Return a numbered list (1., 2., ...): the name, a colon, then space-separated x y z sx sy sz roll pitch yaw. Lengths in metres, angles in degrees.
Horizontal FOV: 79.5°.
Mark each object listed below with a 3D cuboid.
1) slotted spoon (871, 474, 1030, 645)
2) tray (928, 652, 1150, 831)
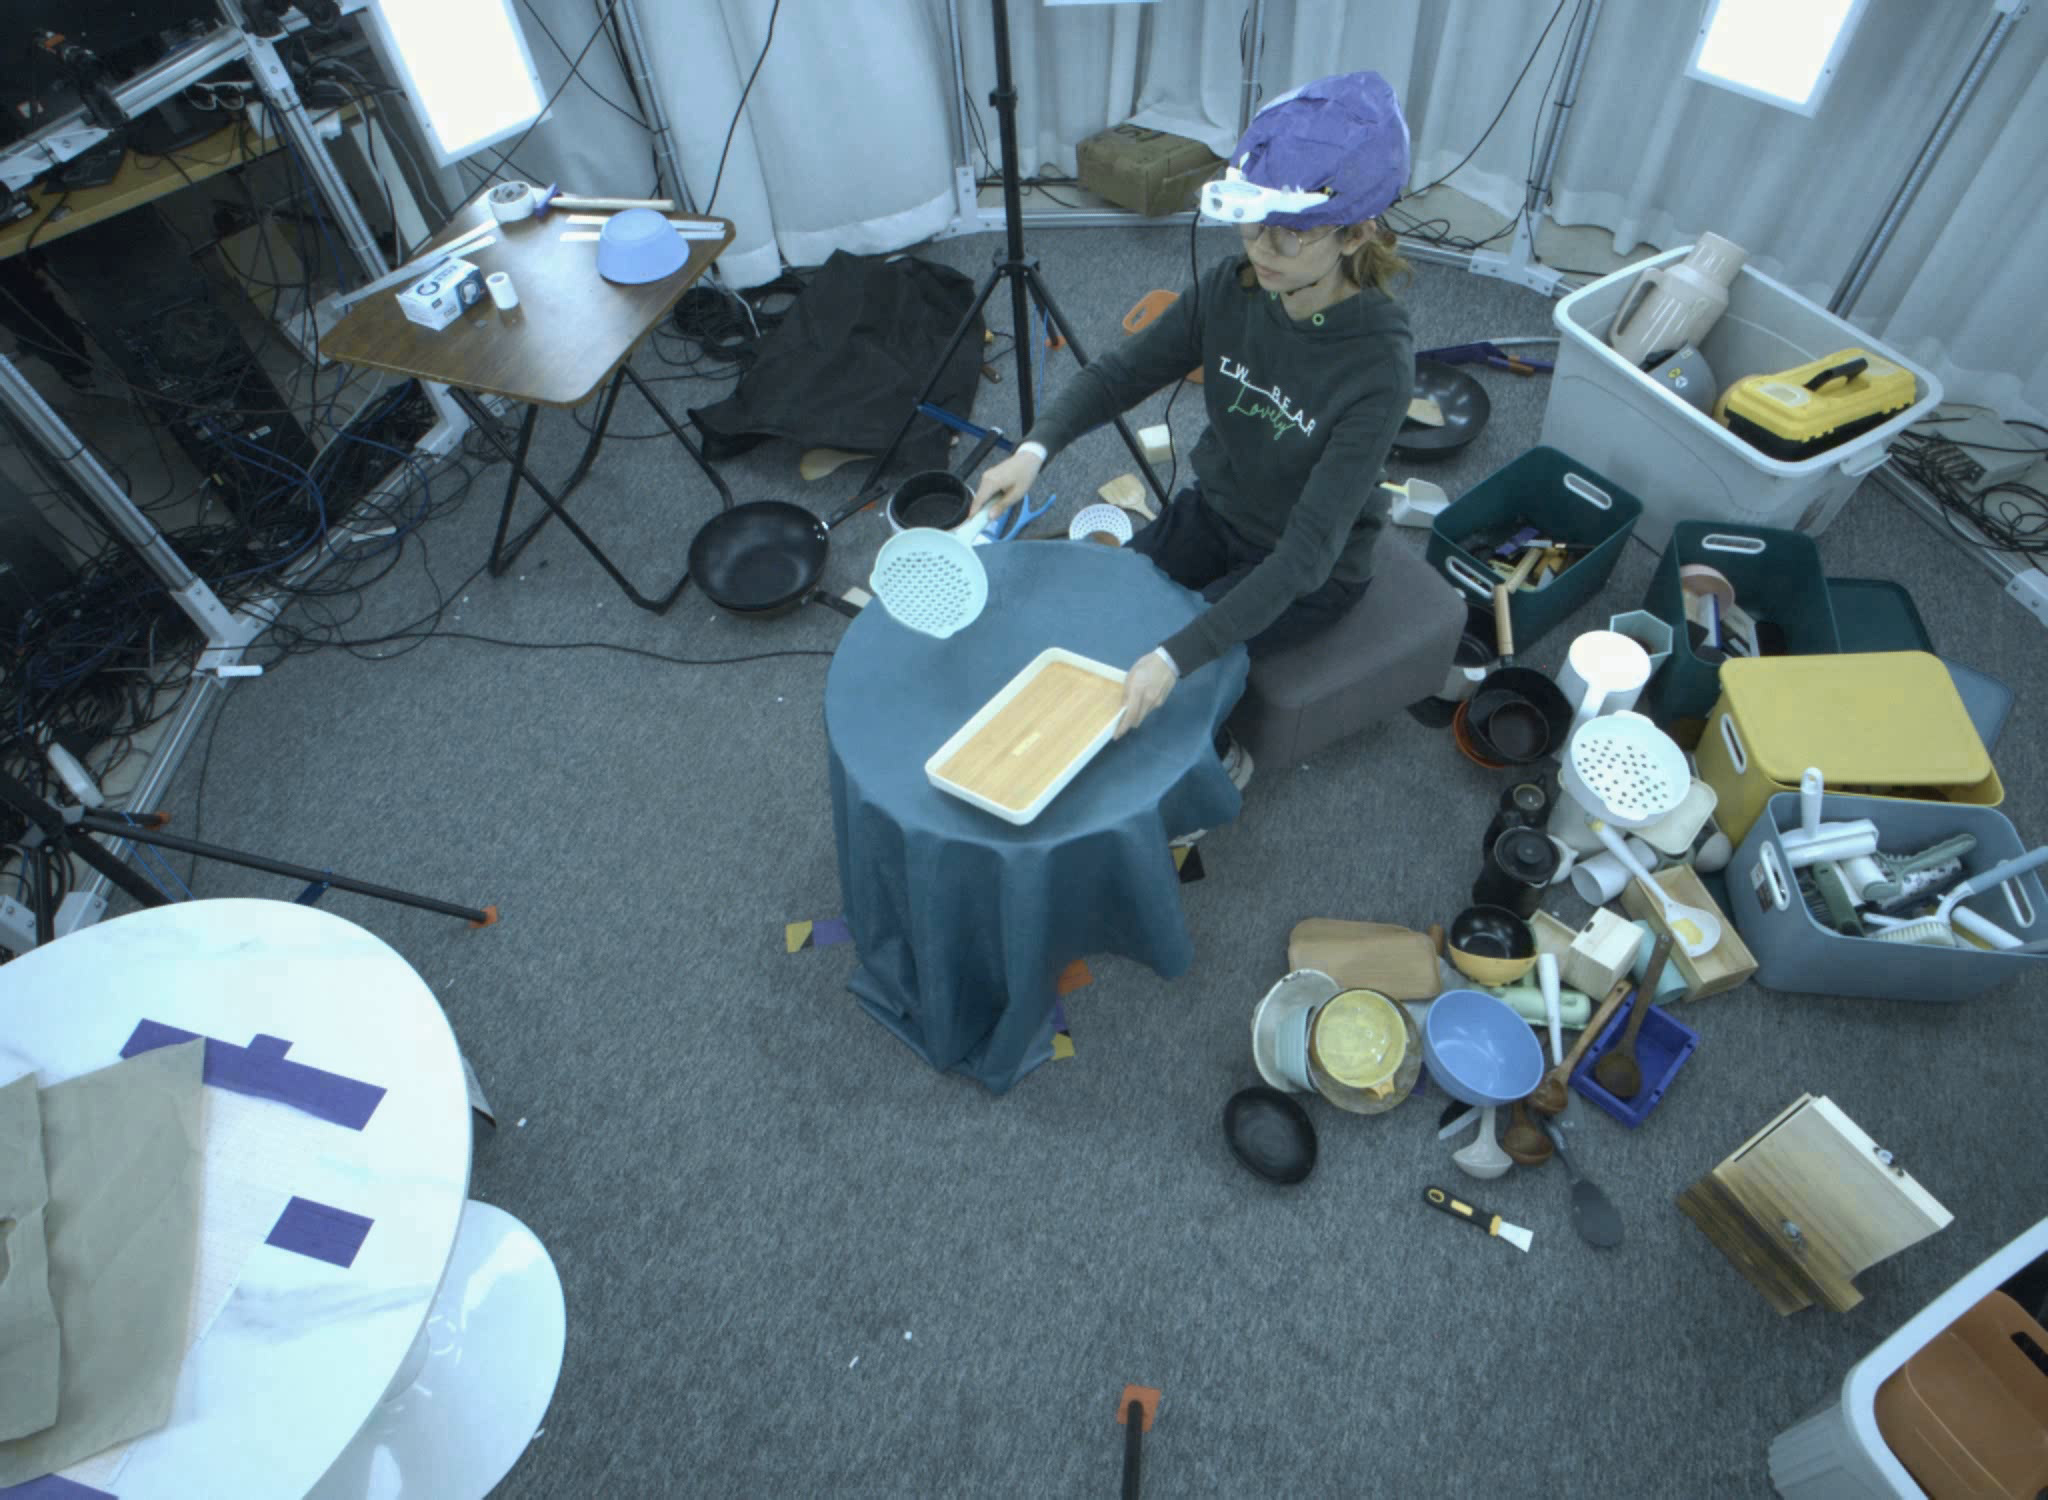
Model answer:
1. slotted spoon: -0.087 -0.304 1.825 0.170 0.075 0.359 38 69 -7
2. tray: 0.024 -0.020 1.752 0.187 0.028 0.302 24 56 33
